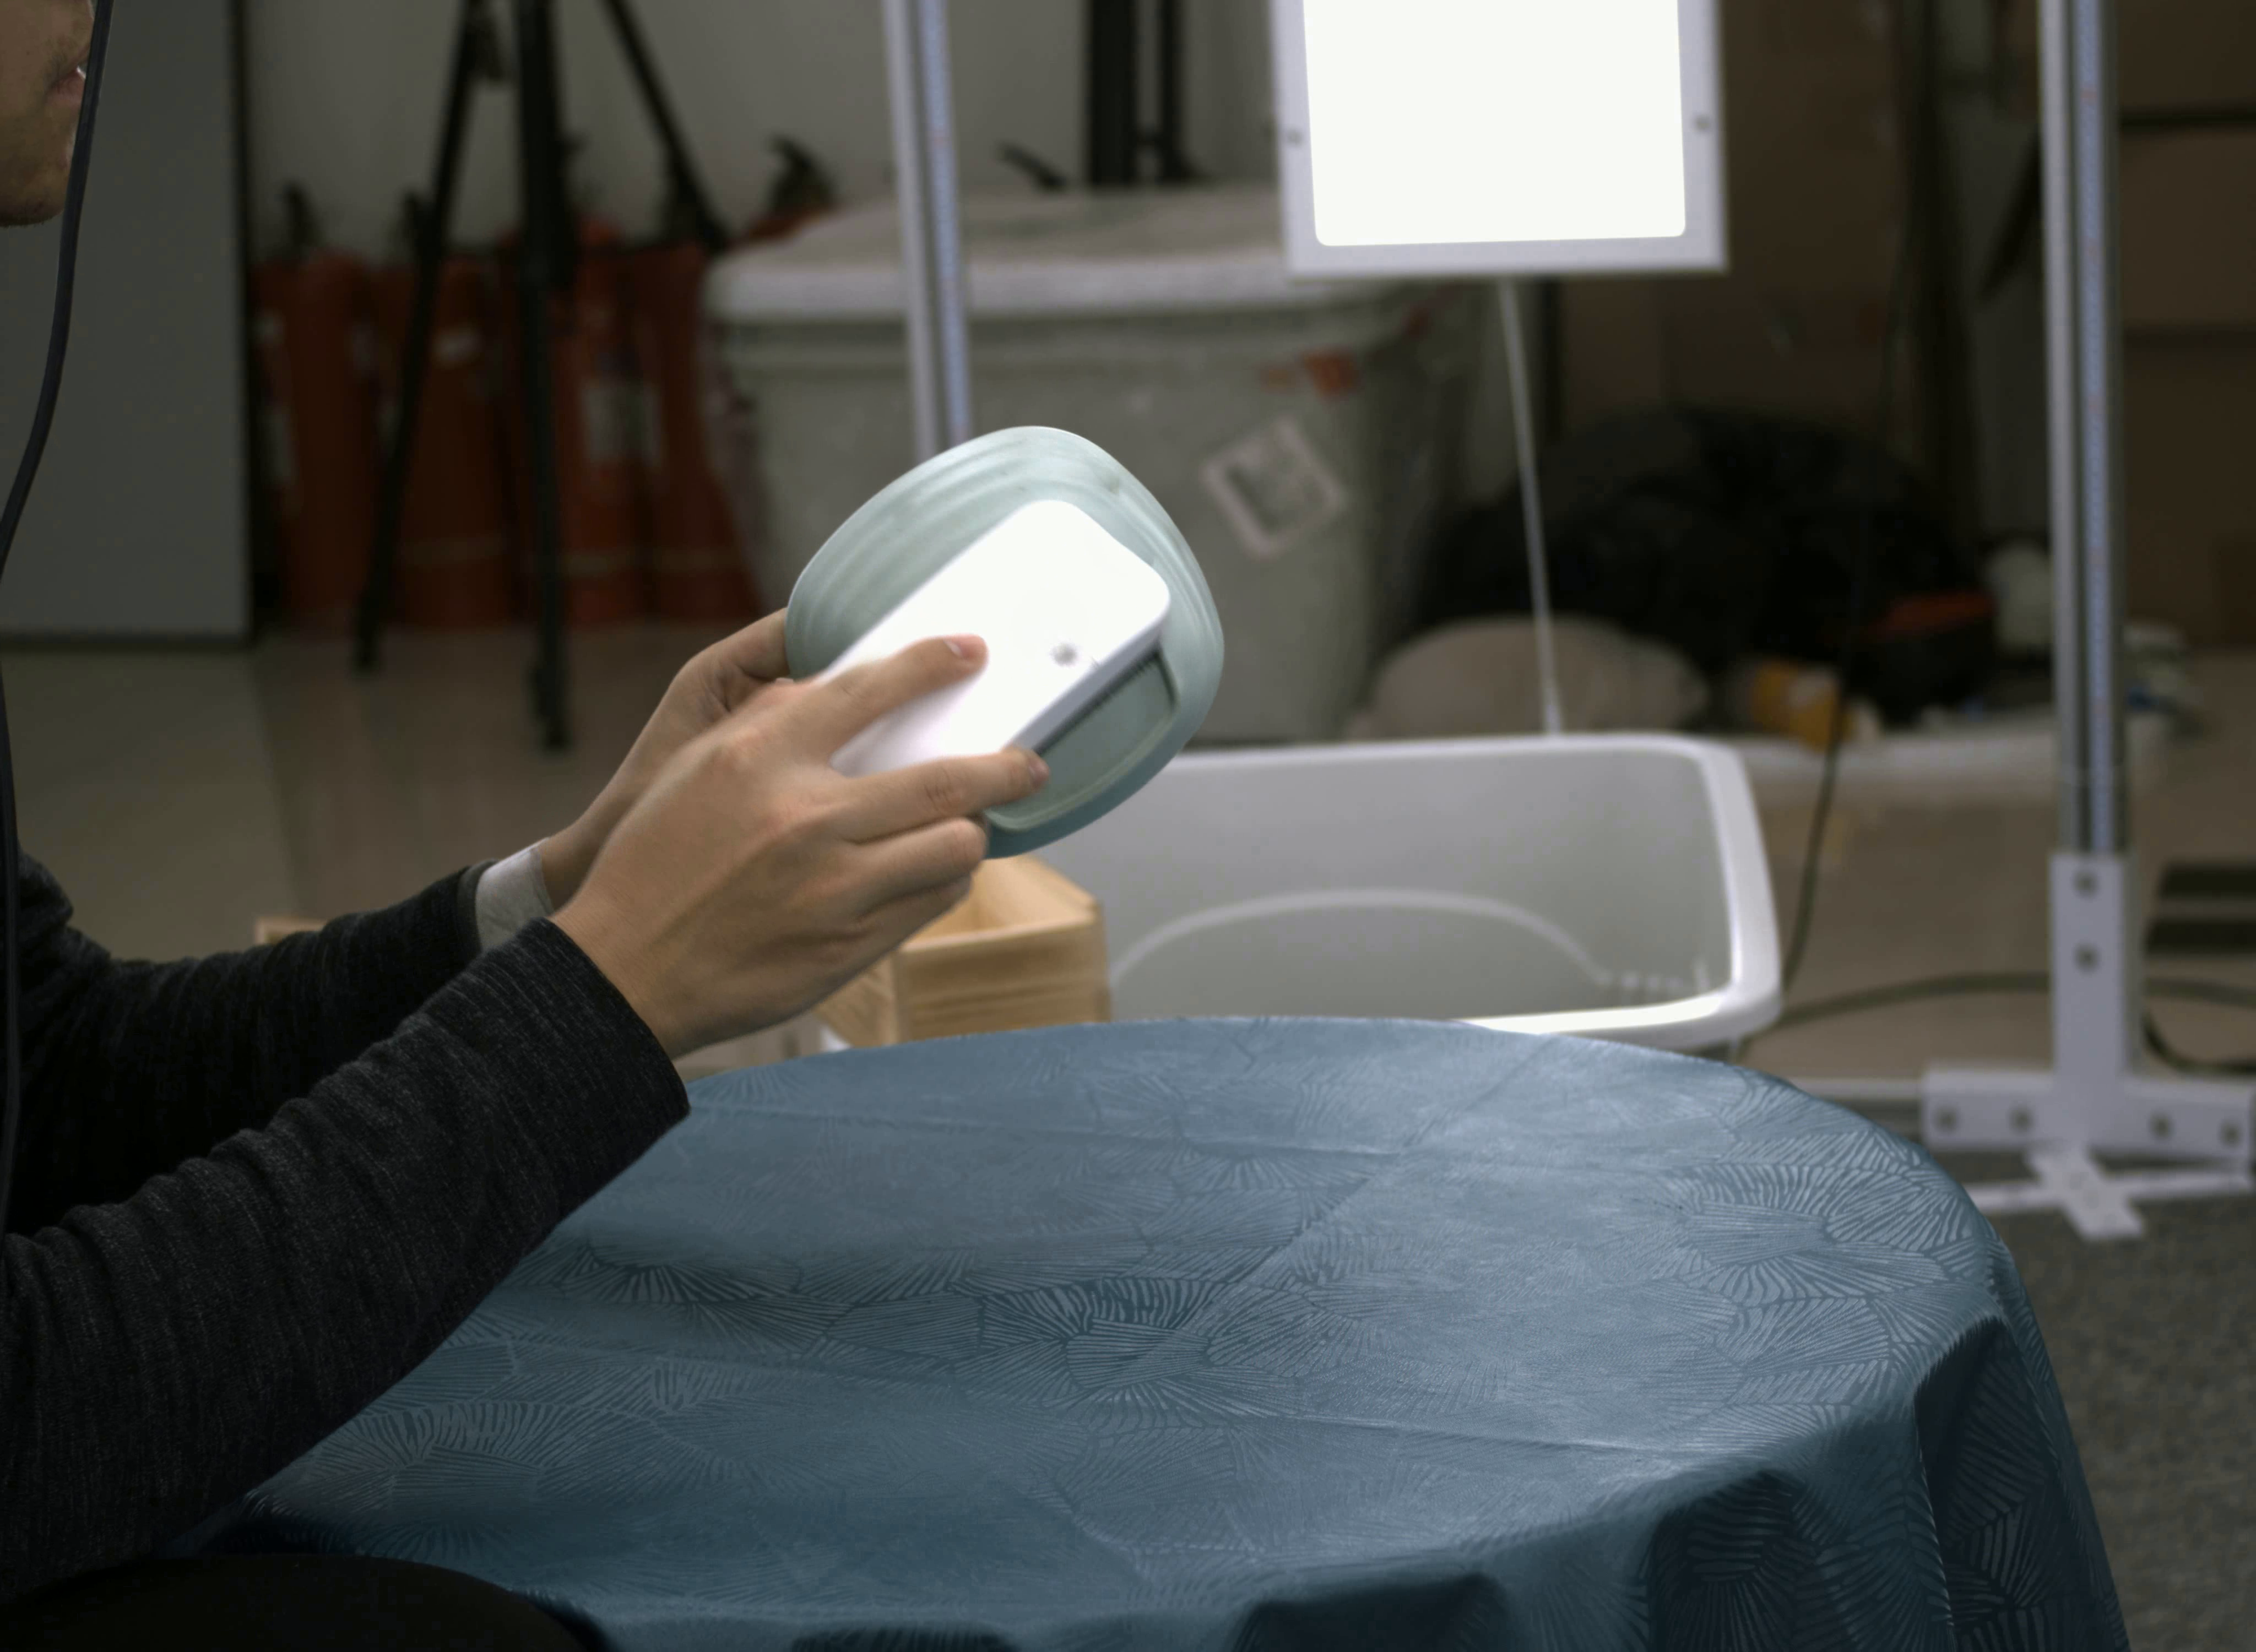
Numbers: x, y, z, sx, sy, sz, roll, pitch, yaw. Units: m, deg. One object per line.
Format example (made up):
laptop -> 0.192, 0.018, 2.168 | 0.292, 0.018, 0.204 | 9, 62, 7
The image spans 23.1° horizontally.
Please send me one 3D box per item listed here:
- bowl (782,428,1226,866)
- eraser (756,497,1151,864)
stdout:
bowl -> -0.037, -0.051, 1.810 | 0.150, 0.152, 0.059 | -6, 19, -6
eraser -> -0.054, -0.047, 1.708 | 0.130, 0.034, 0.064 | -41, 62, -16
